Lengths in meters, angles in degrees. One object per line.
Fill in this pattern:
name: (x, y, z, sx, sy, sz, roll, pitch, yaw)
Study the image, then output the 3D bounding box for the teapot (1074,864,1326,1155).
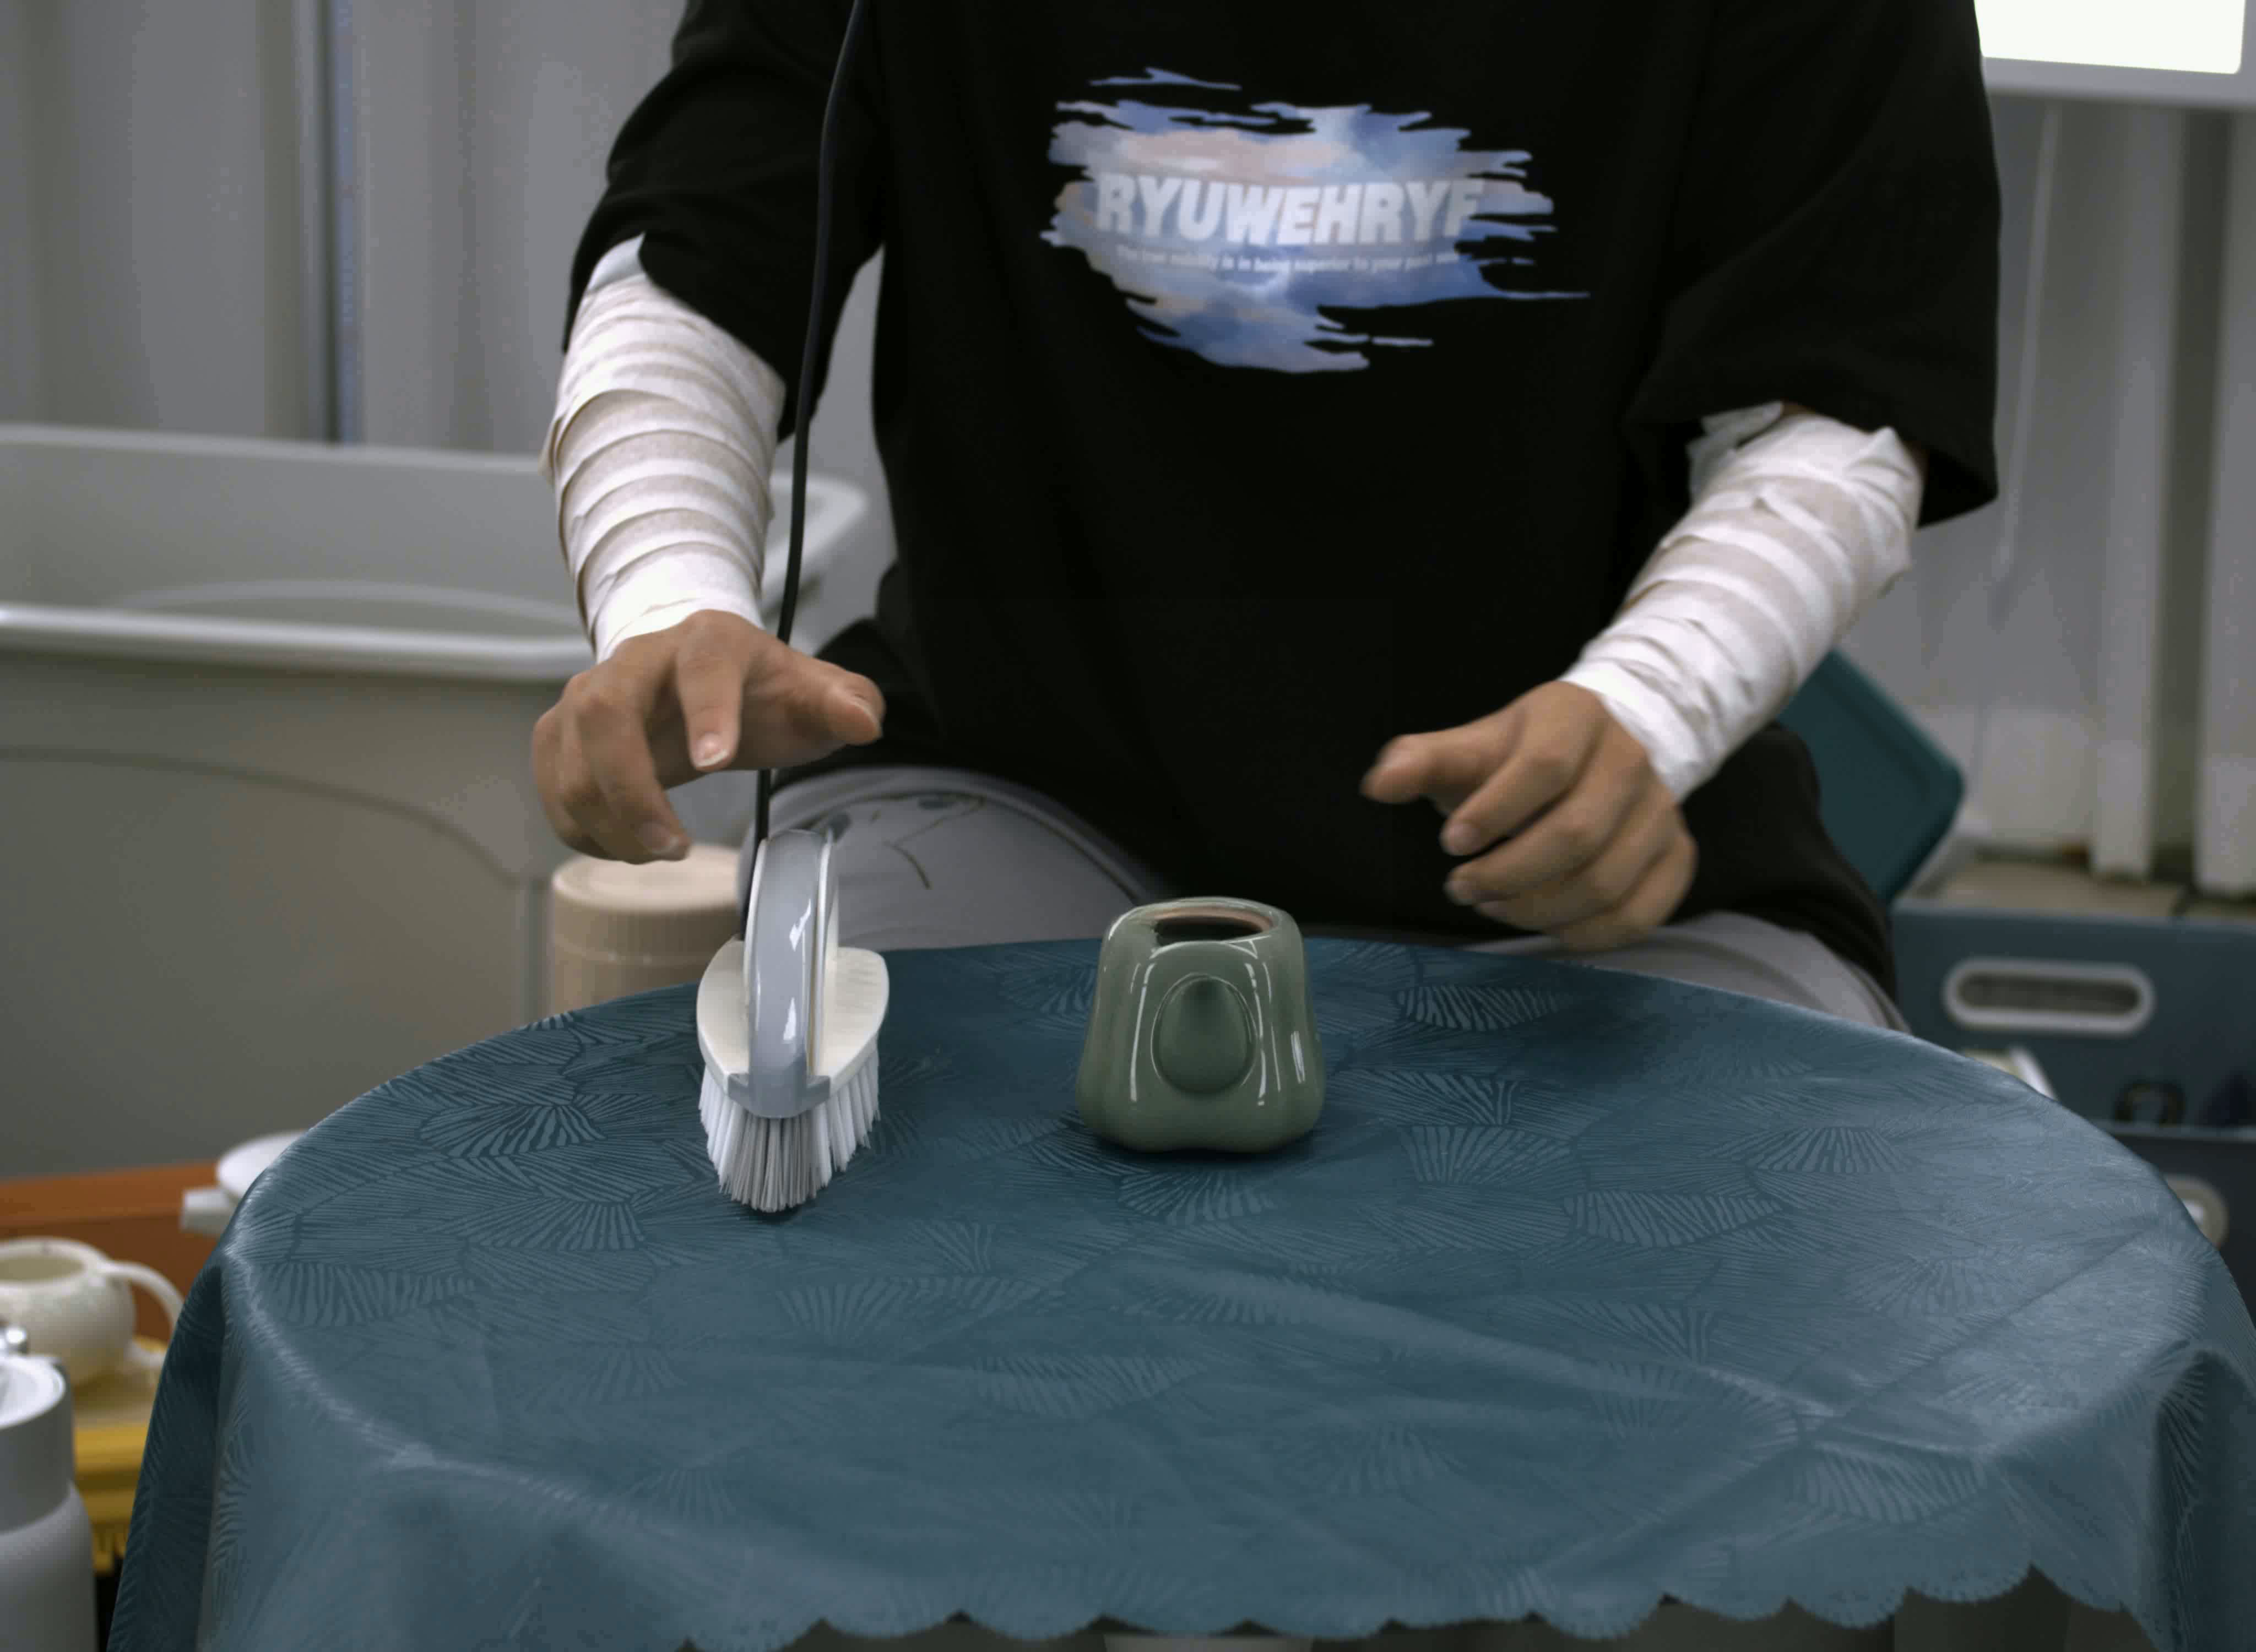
teapot: (0.024, 0.061, 1.674, 0.079, 0.076, 0.132, 2, 14, 2)

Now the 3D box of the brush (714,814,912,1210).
brush: (-0.103, 0.053, 1.663, 0.061, 0.095, 0.174, -4, 17, 3)
